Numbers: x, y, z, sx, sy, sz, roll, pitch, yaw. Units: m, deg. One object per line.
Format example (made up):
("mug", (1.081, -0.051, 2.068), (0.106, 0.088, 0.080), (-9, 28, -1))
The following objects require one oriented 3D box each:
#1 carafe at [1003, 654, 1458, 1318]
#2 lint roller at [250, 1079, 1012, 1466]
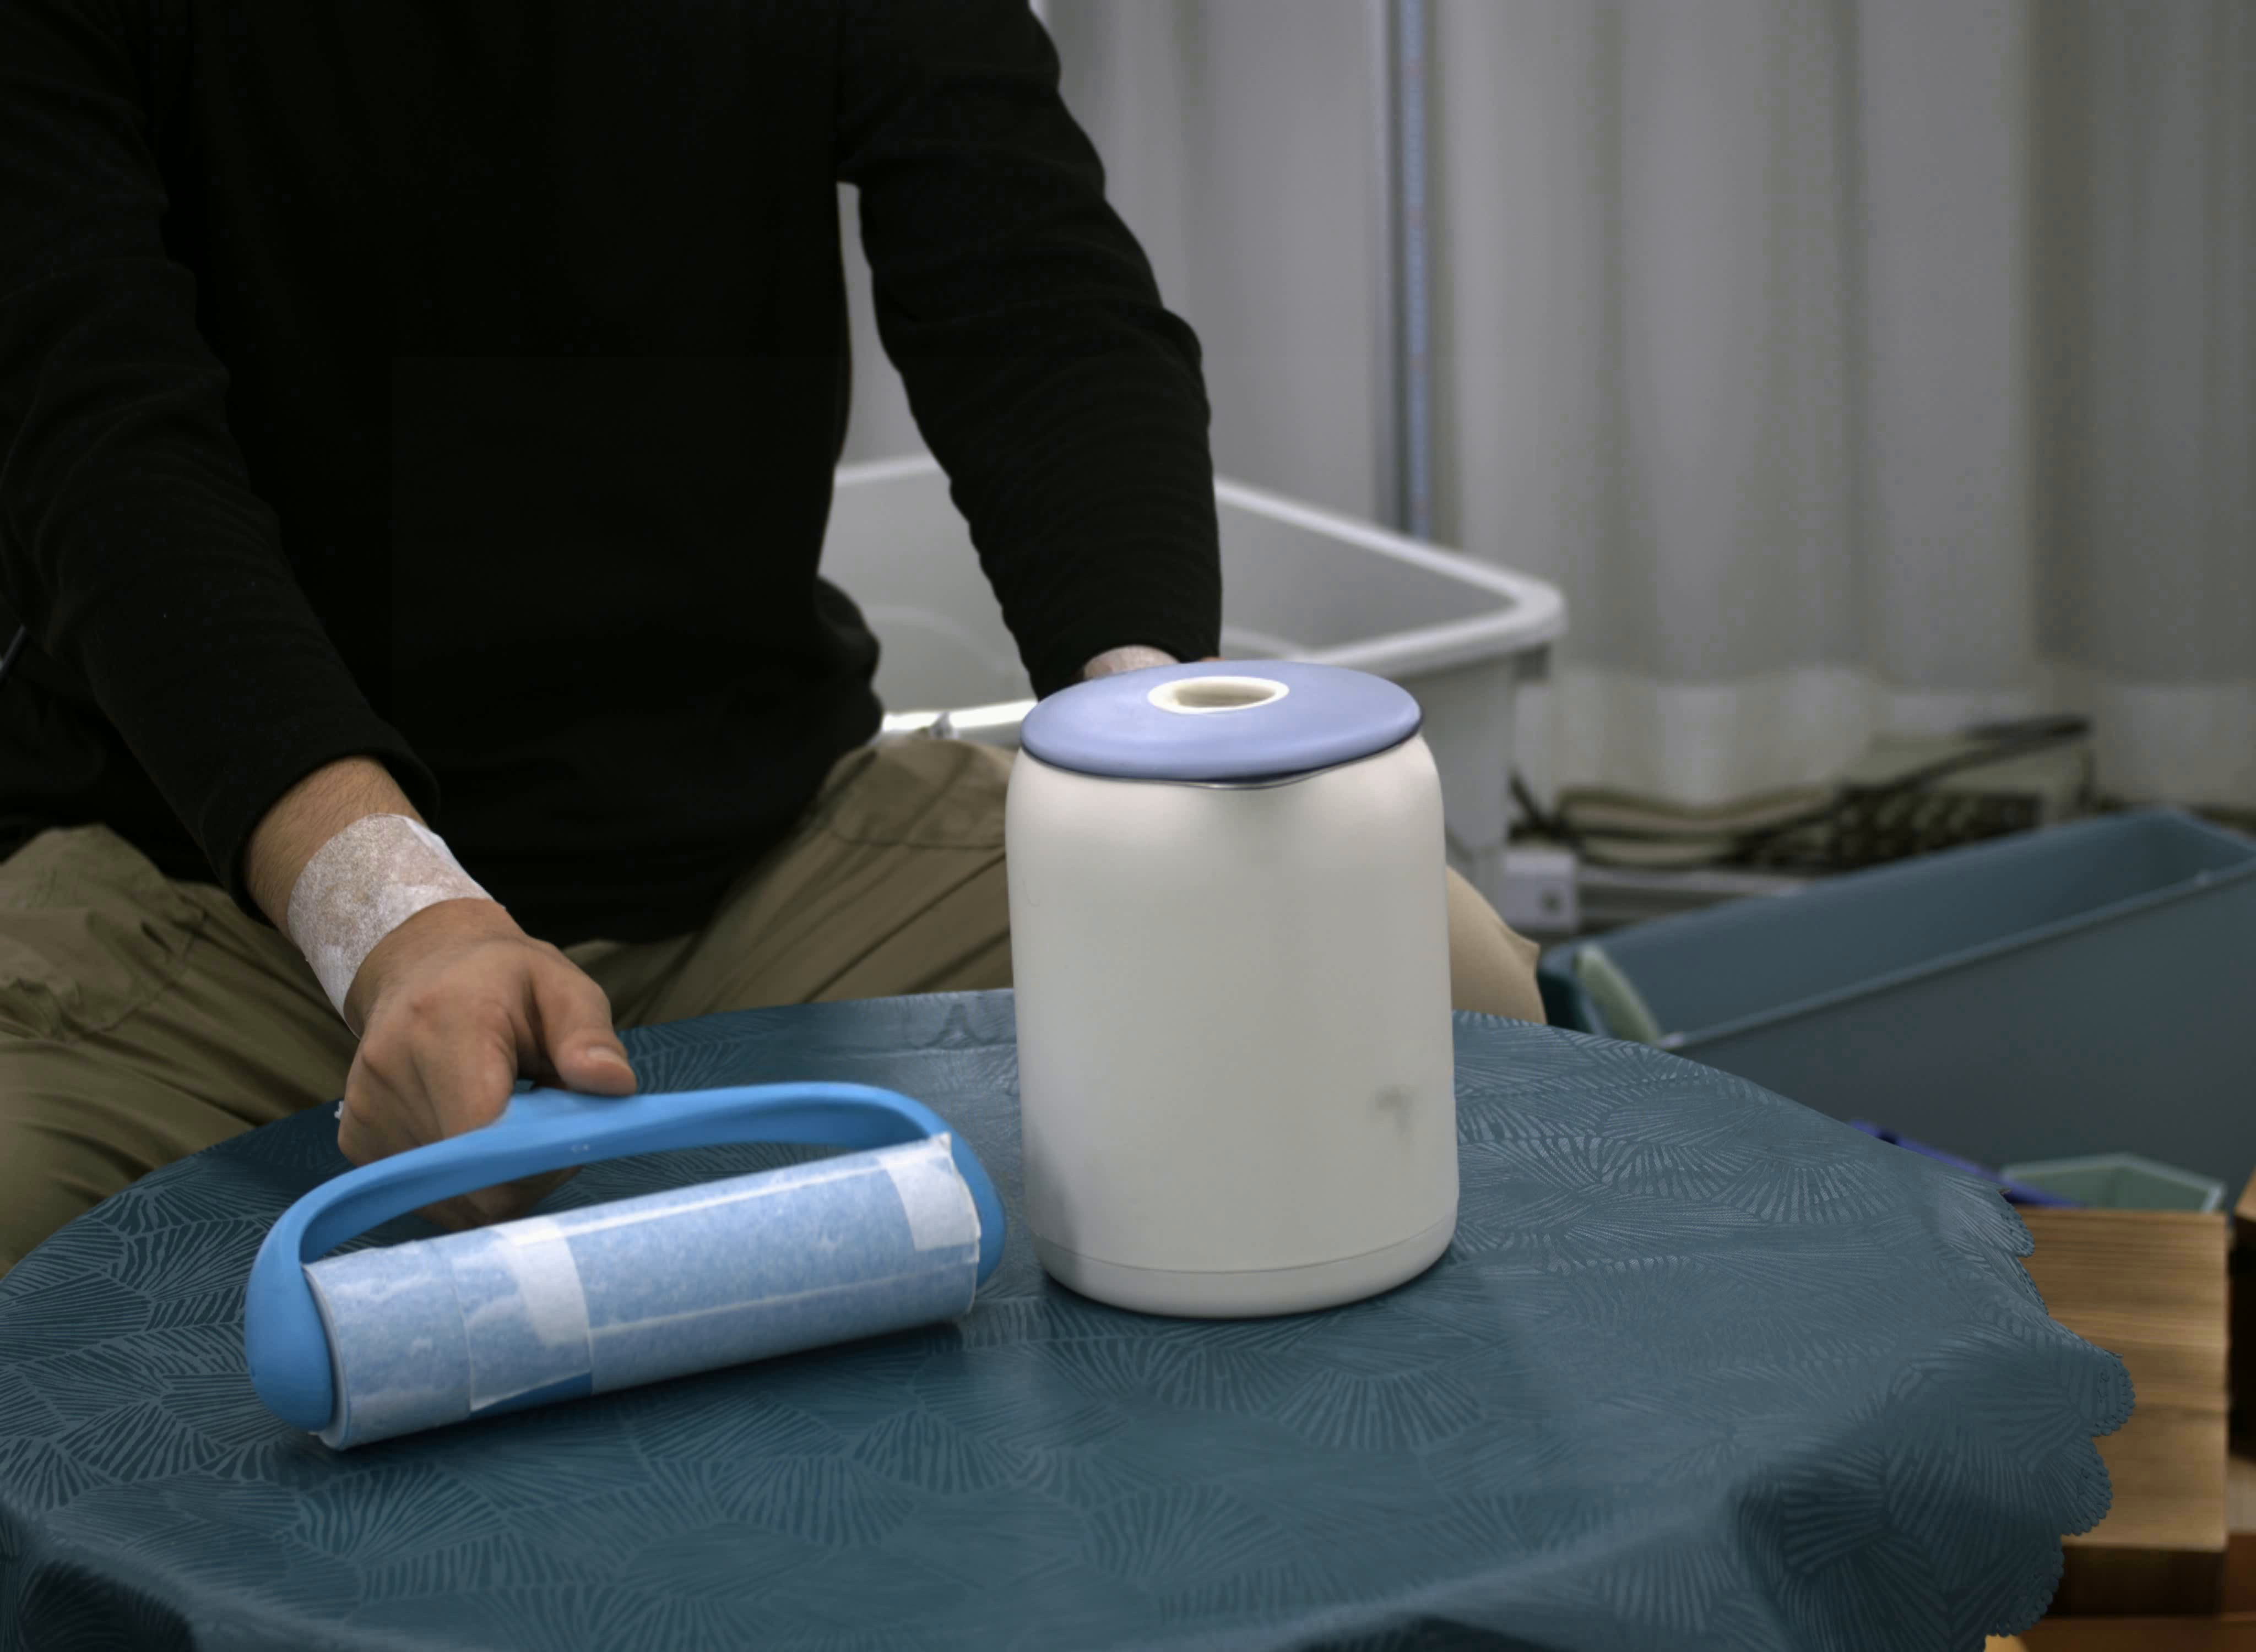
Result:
("carafe", (0.026, 0.041, 1.655), (0.131, 0.182, 0.192), (-5, 12, -10))
("lint roller", (-0.167, 0.110, 1.614), (0.228, 0.067, 0.182), (-14, 31, -24))
